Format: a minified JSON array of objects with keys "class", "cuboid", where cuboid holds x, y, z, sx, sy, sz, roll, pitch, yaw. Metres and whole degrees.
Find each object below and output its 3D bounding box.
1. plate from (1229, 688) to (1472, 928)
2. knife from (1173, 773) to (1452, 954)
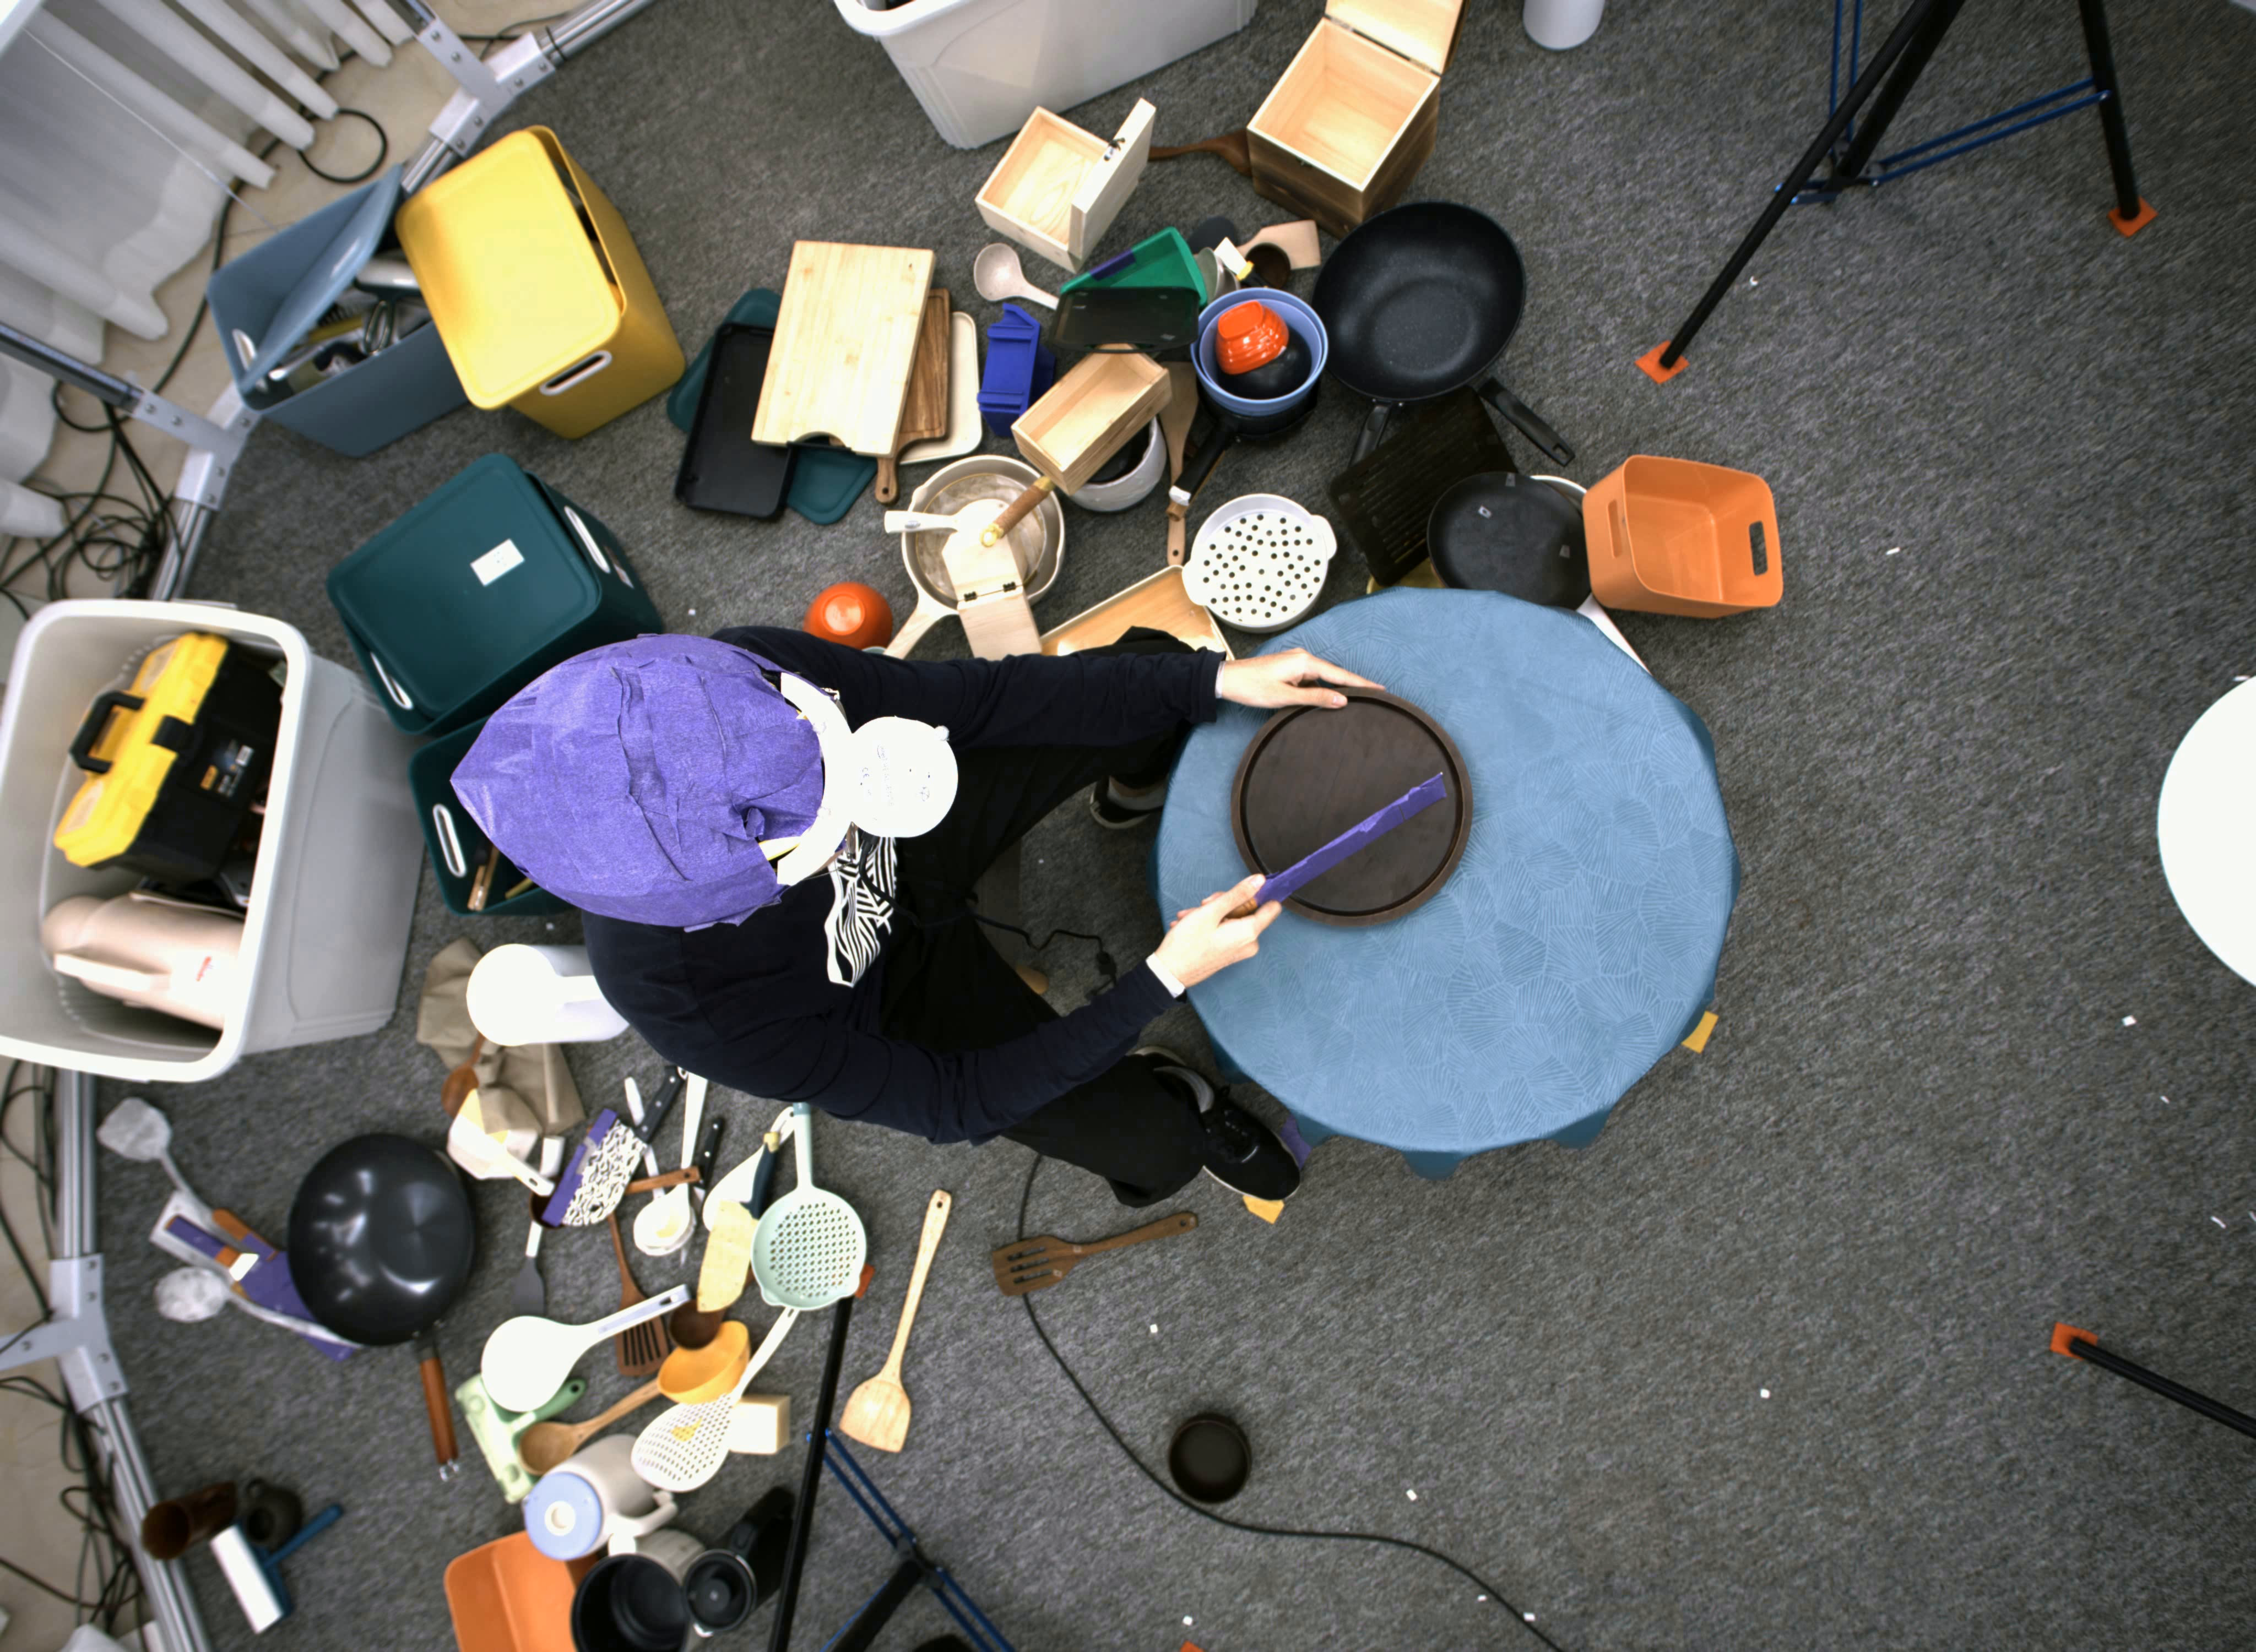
[{"class":"plate","cuboid":[0.233,-0.021,1.453,0.255,0.029,0.255,0,92,9]},{"class":"knife","cuboid":[0.193,0.043,1.403,0.317,0.104,0.032,-31,70,8]}]
